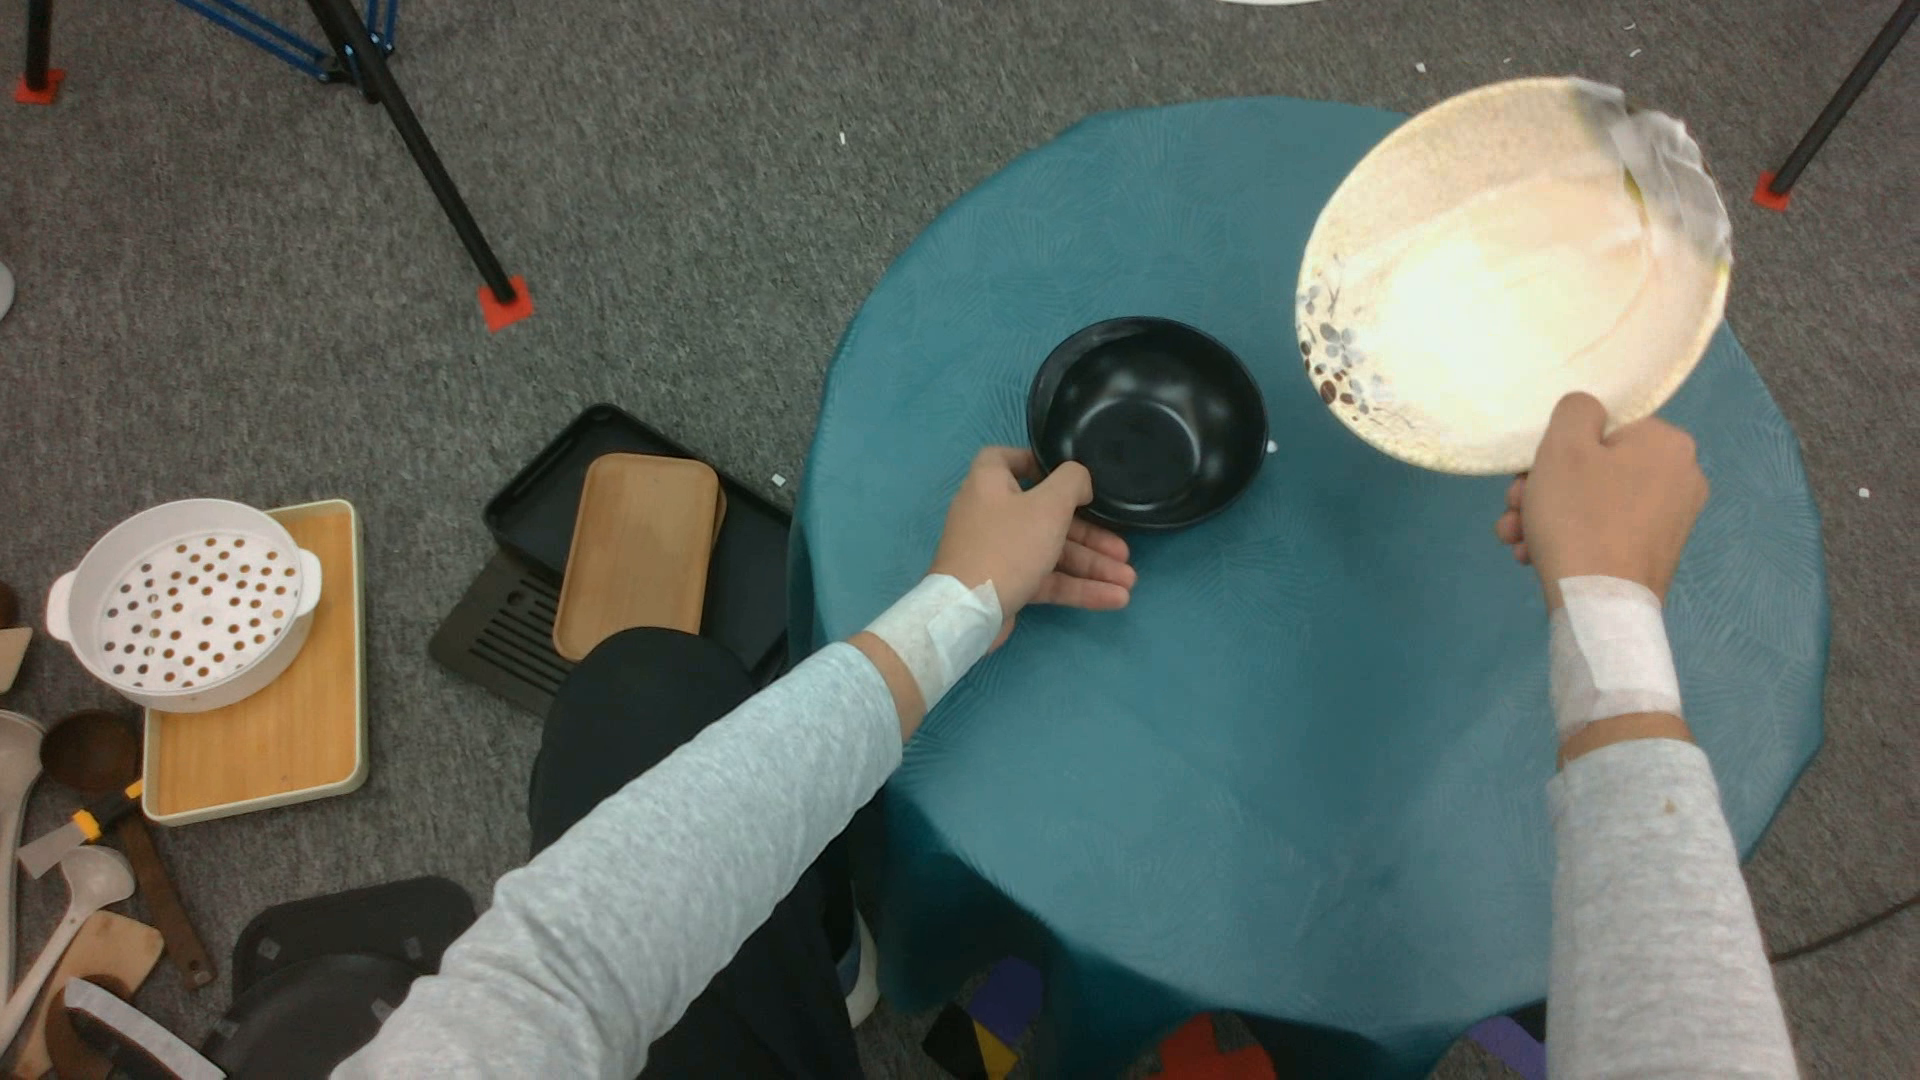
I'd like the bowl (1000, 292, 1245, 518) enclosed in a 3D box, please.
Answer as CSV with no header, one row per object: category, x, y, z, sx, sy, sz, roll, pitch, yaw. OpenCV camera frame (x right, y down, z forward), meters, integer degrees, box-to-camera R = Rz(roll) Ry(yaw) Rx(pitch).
bowl,0.093,-0.072,0.802,0.140,0.049,0.140,0,70,1

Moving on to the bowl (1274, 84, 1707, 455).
bowl,0.274,-0.129,0.720,0.203,0.078,0.204,-8,70,23
